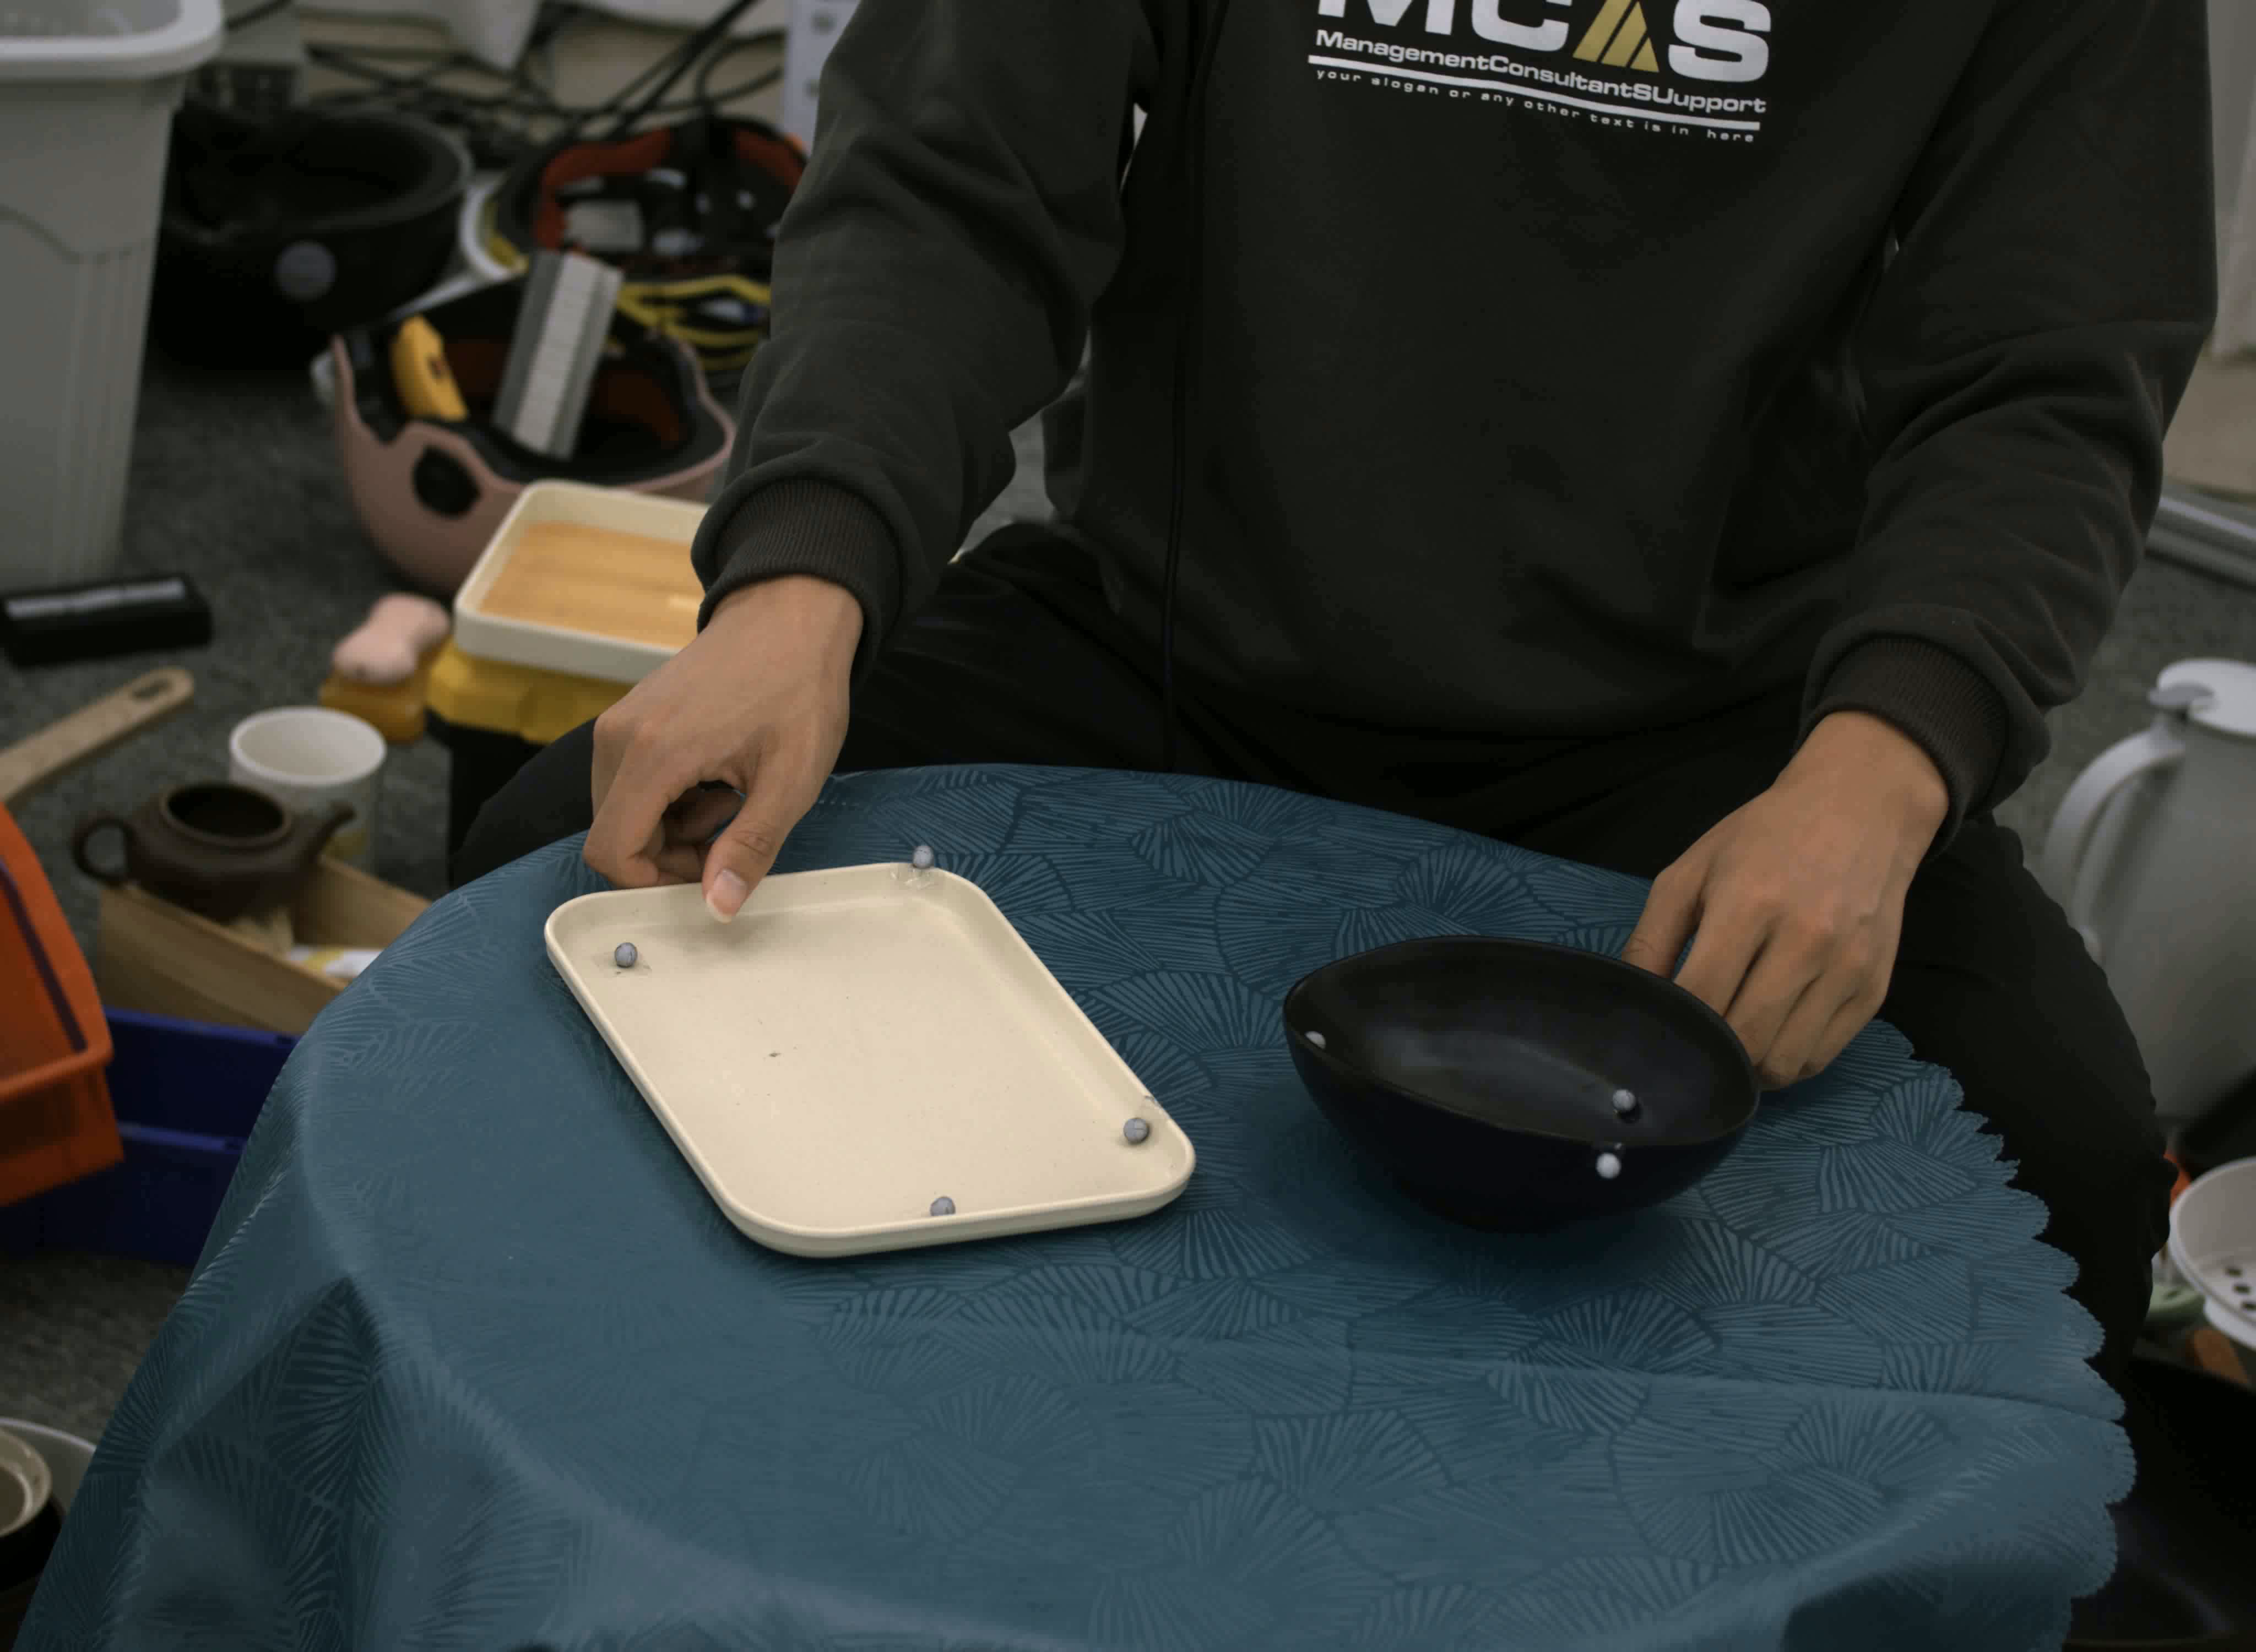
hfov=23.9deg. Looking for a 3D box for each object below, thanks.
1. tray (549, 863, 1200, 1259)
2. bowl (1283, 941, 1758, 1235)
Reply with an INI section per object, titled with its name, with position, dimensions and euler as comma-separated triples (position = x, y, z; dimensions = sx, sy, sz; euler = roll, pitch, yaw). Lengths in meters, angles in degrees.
[tray]
position = -0.091, 0.080, 1.851
dimensions = 0.170, 0.017, 0.242
euler = -6, 30, -24
[bowl]
position = 0.130, 0.097, 1.822
dimensions = 0.171, 0.066, 0.137
euler = 17, 27, 23
